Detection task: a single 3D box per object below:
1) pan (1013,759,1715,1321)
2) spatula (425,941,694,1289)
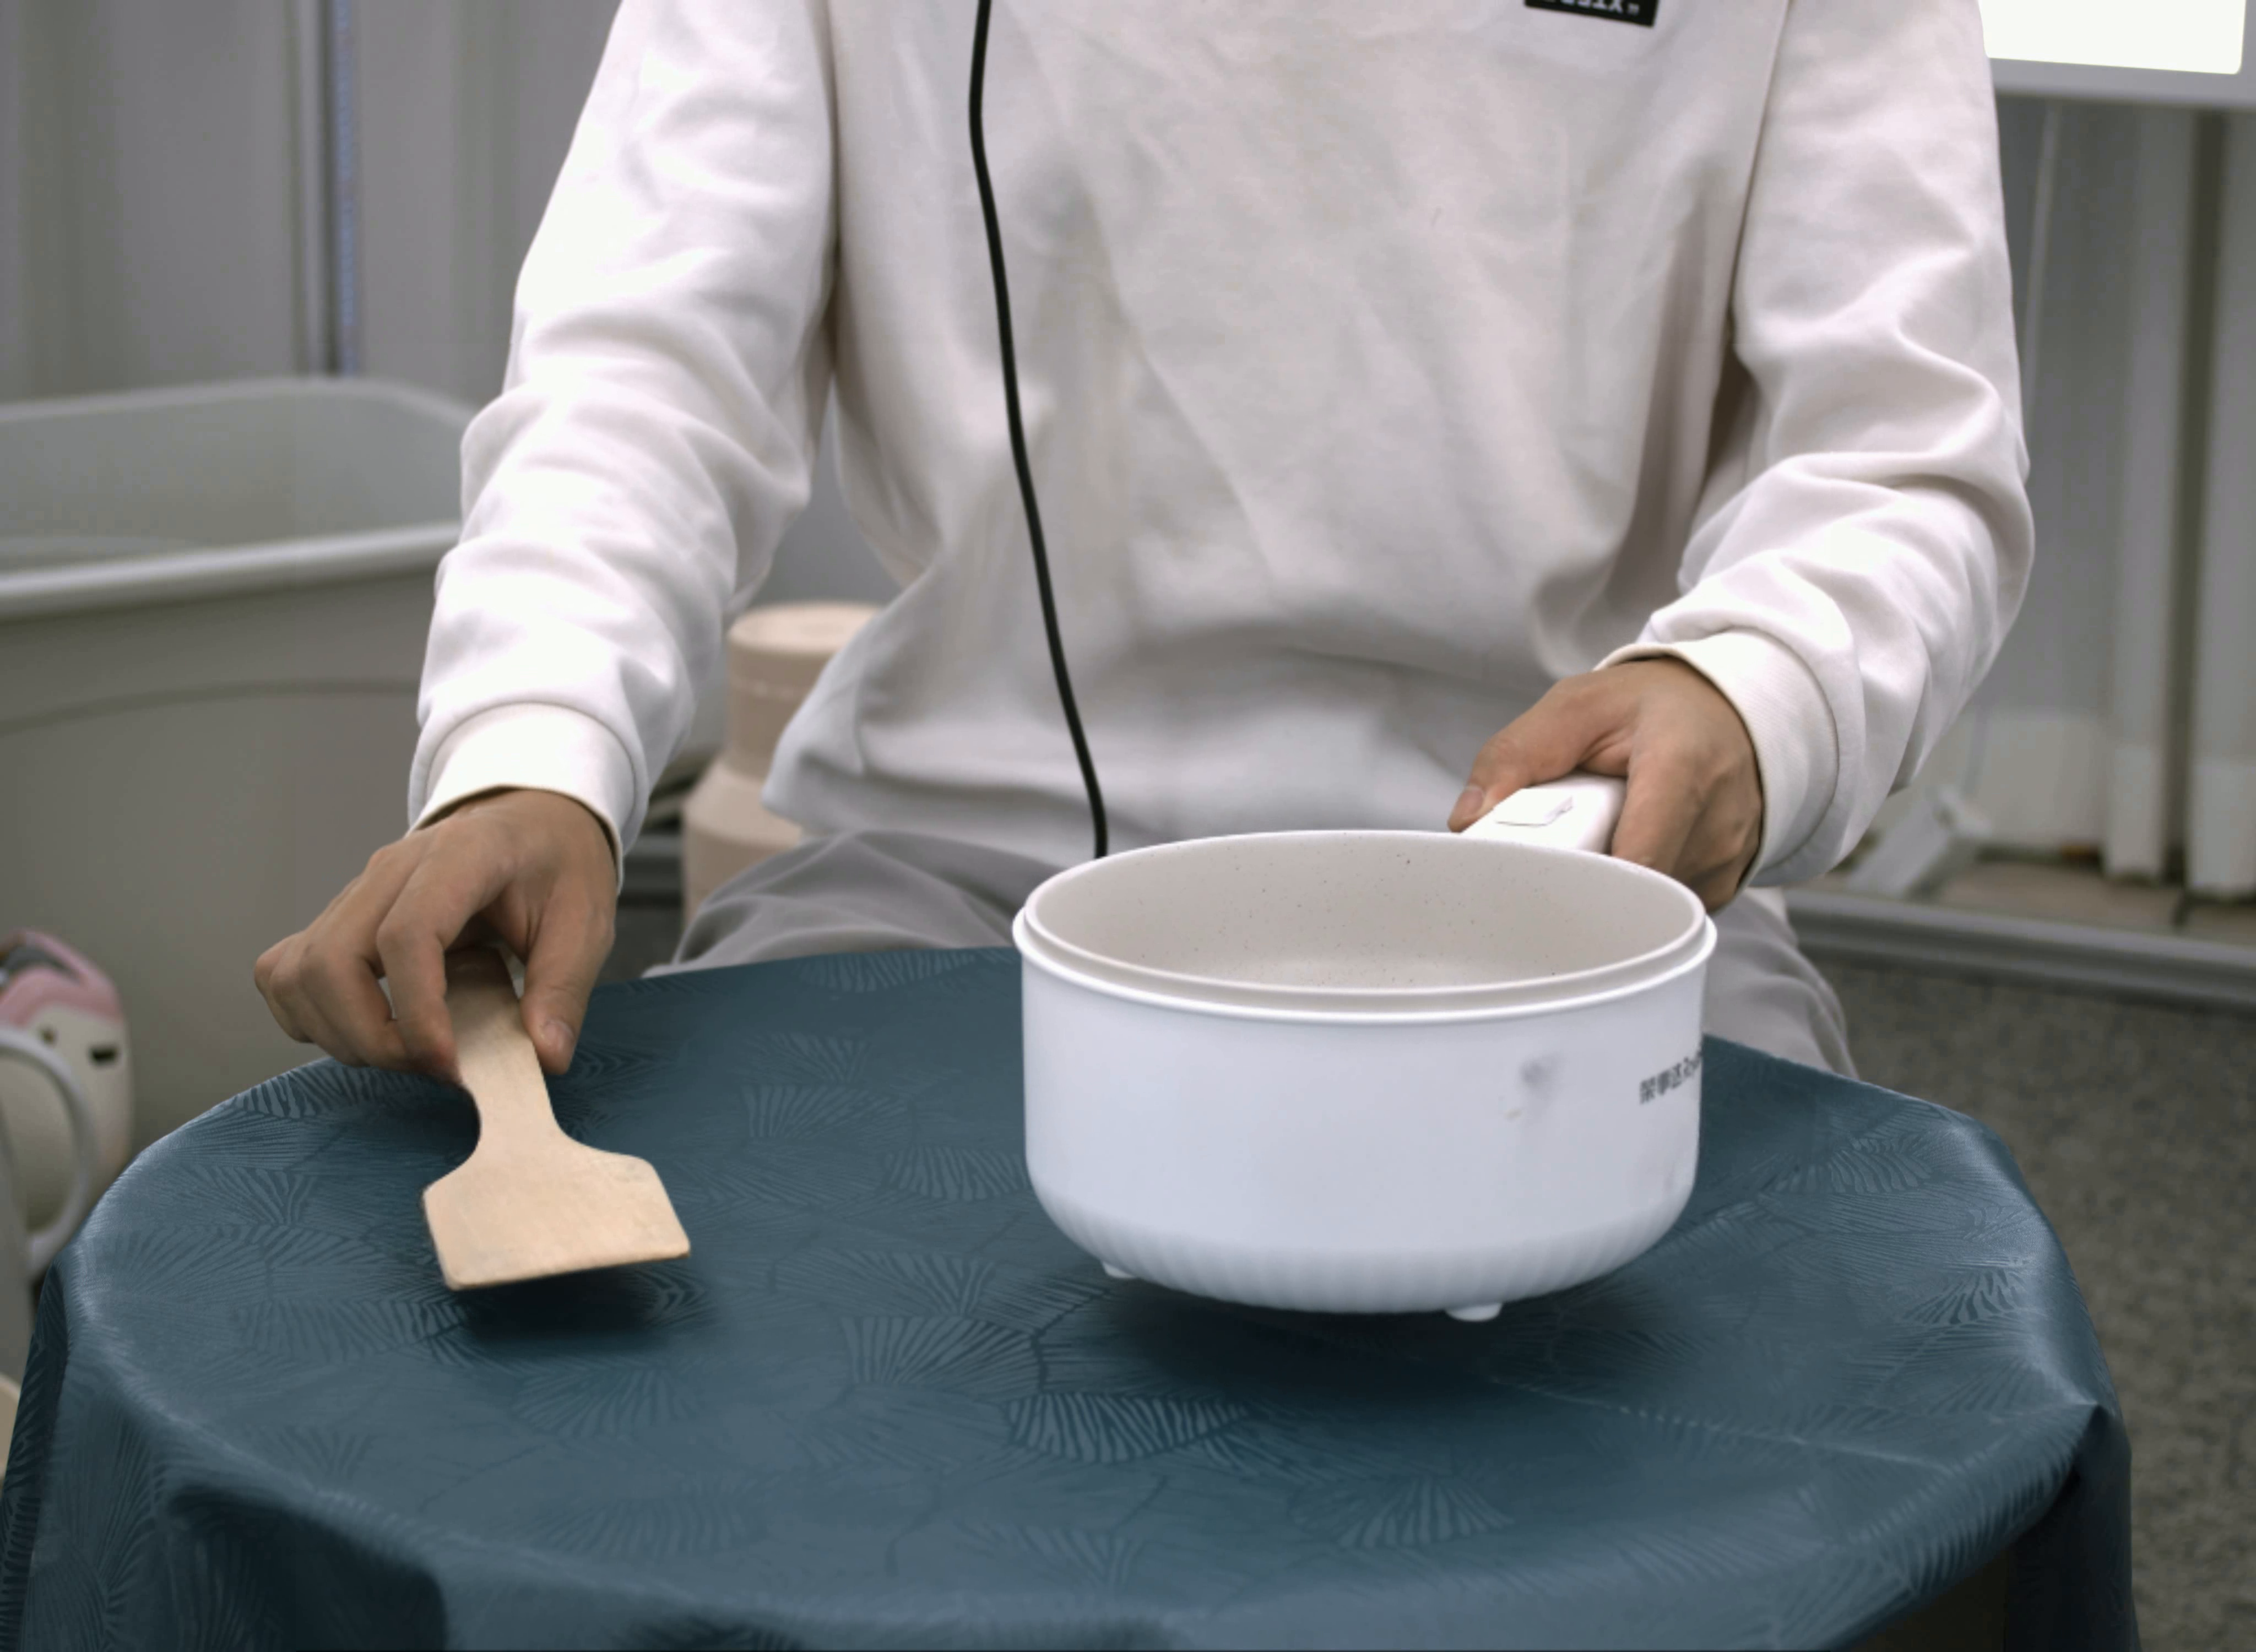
[{"bbox_3d":[0.096,0.058,1.585,0.199,0.103,0.355,4,12,21],"label":"pan"},{"bbox_3d":[-0.191,0.086,1.629,0.072,0.011,0.290,-7,19,-12],"label":"spatula"}]
